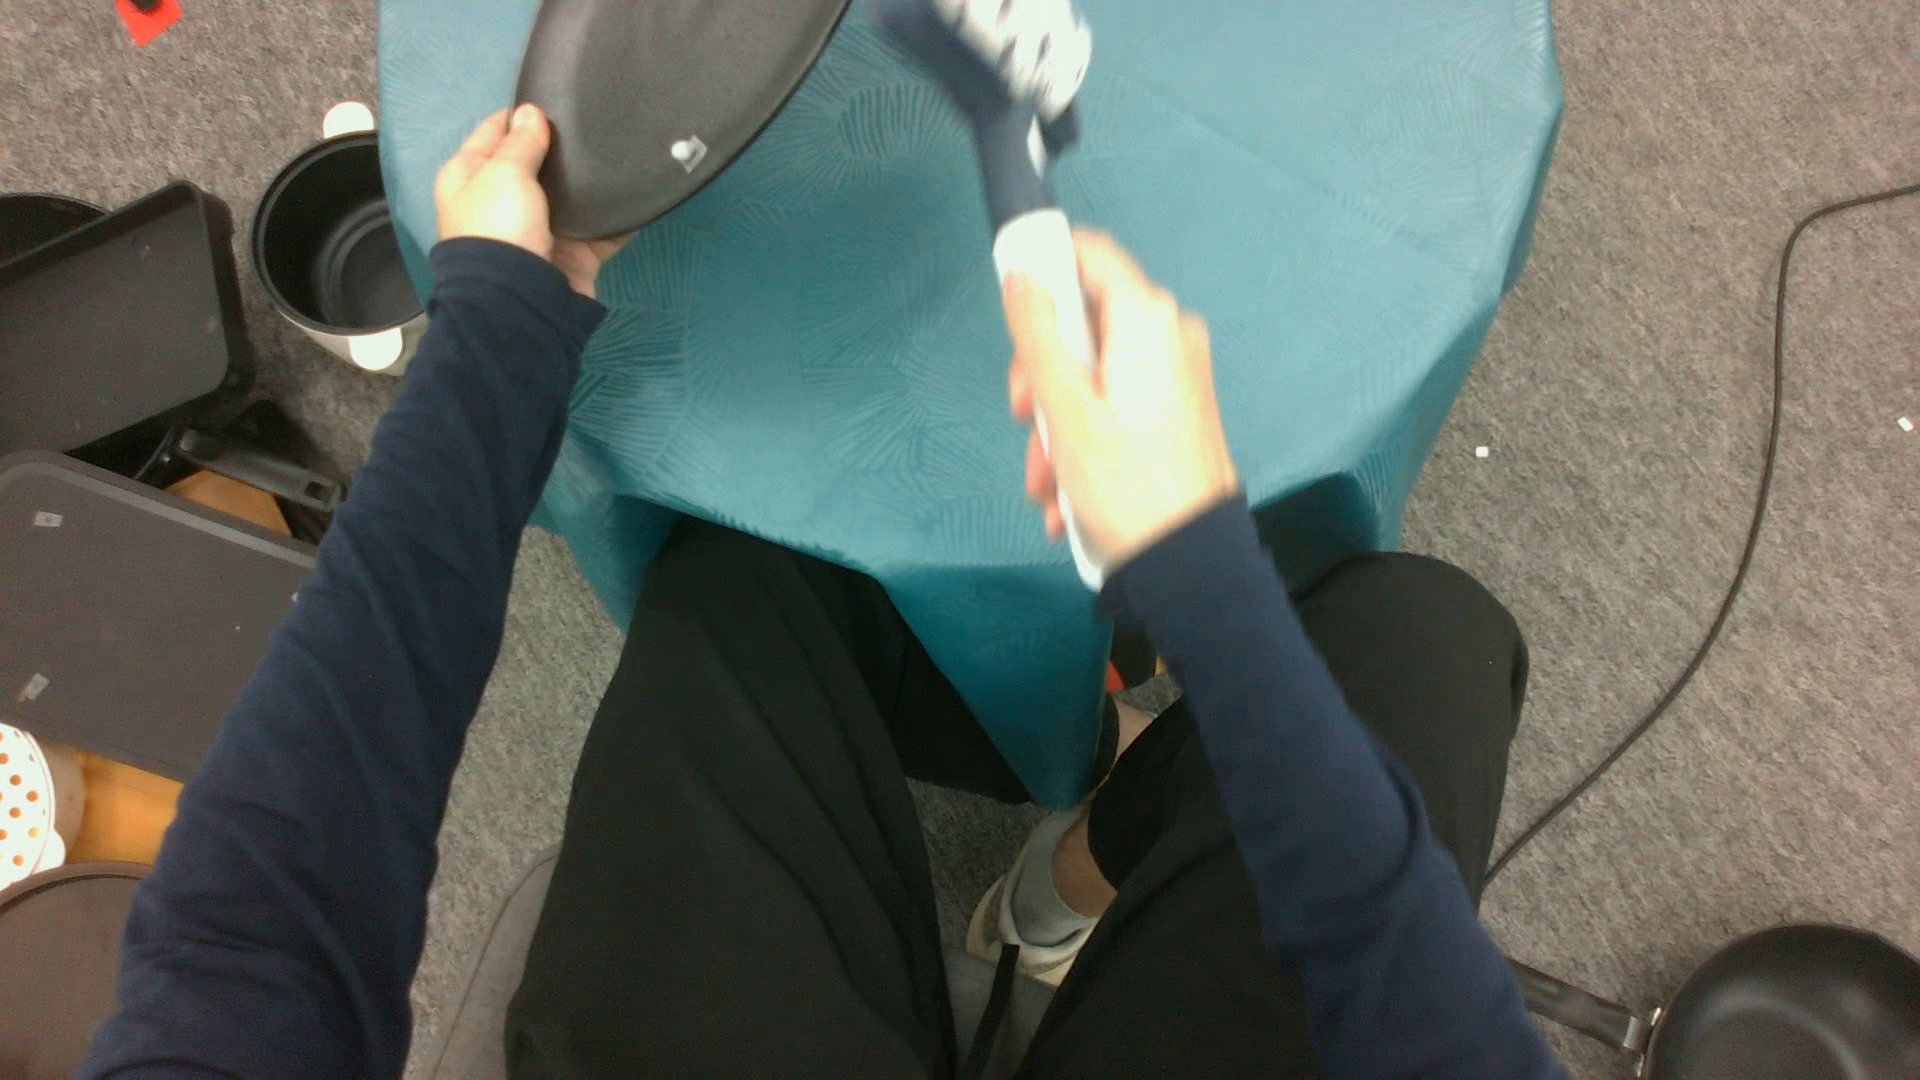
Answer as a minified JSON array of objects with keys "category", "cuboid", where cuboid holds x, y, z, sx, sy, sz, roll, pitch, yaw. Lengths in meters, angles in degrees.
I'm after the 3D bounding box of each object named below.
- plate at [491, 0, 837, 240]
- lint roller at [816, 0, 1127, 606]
[{"category":"plate","cuboid":[-0.117,-0.236,0.588,0.243,0.023,0.245,-17,62,34]},{"category":"lint roller","cuboid":[0.024,-0.097,0.522,0.050,0.176,0.247,-20,83,17]}]
